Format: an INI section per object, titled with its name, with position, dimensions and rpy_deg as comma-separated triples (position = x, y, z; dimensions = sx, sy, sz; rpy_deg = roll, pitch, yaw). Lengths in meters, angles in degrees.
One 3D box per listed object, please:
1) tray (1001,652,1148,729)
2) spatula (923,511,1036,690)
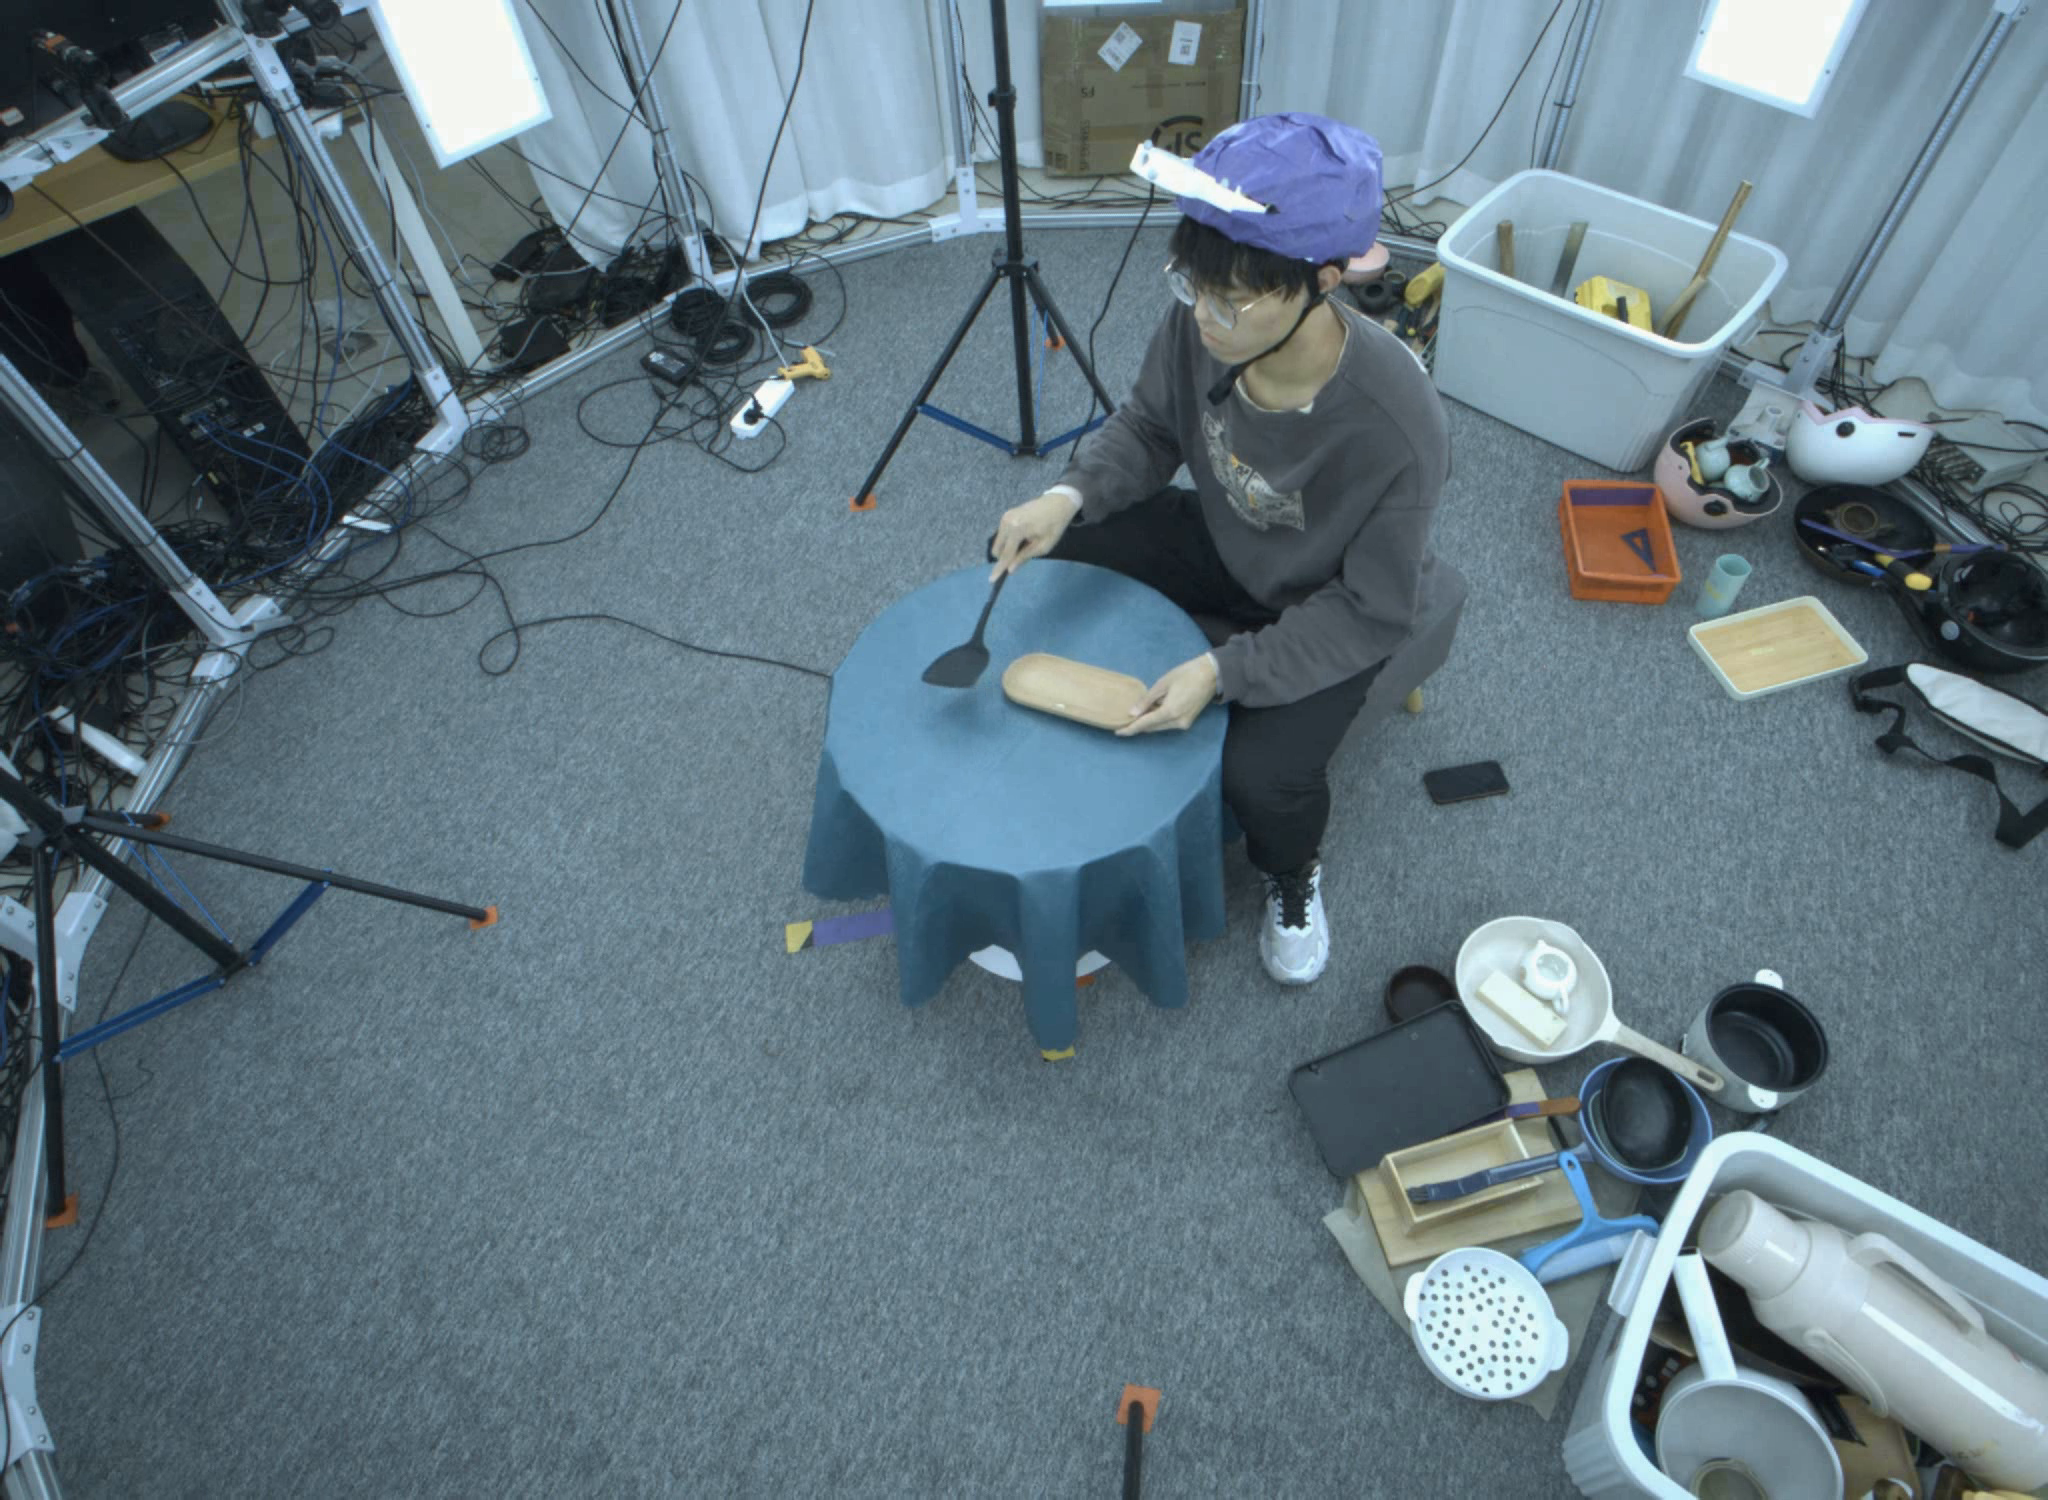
[tray]
position = 0.074, -0.088, 1.825
dimensions = 0.227, 0.020, 0.102
rpy_deg = 16, 53, 21
[spatula]
position = -0.049, -0.227, 1.819
dimensions = 0.098, 0.041, 0.325
rpy_deg = 11, 71, 31
